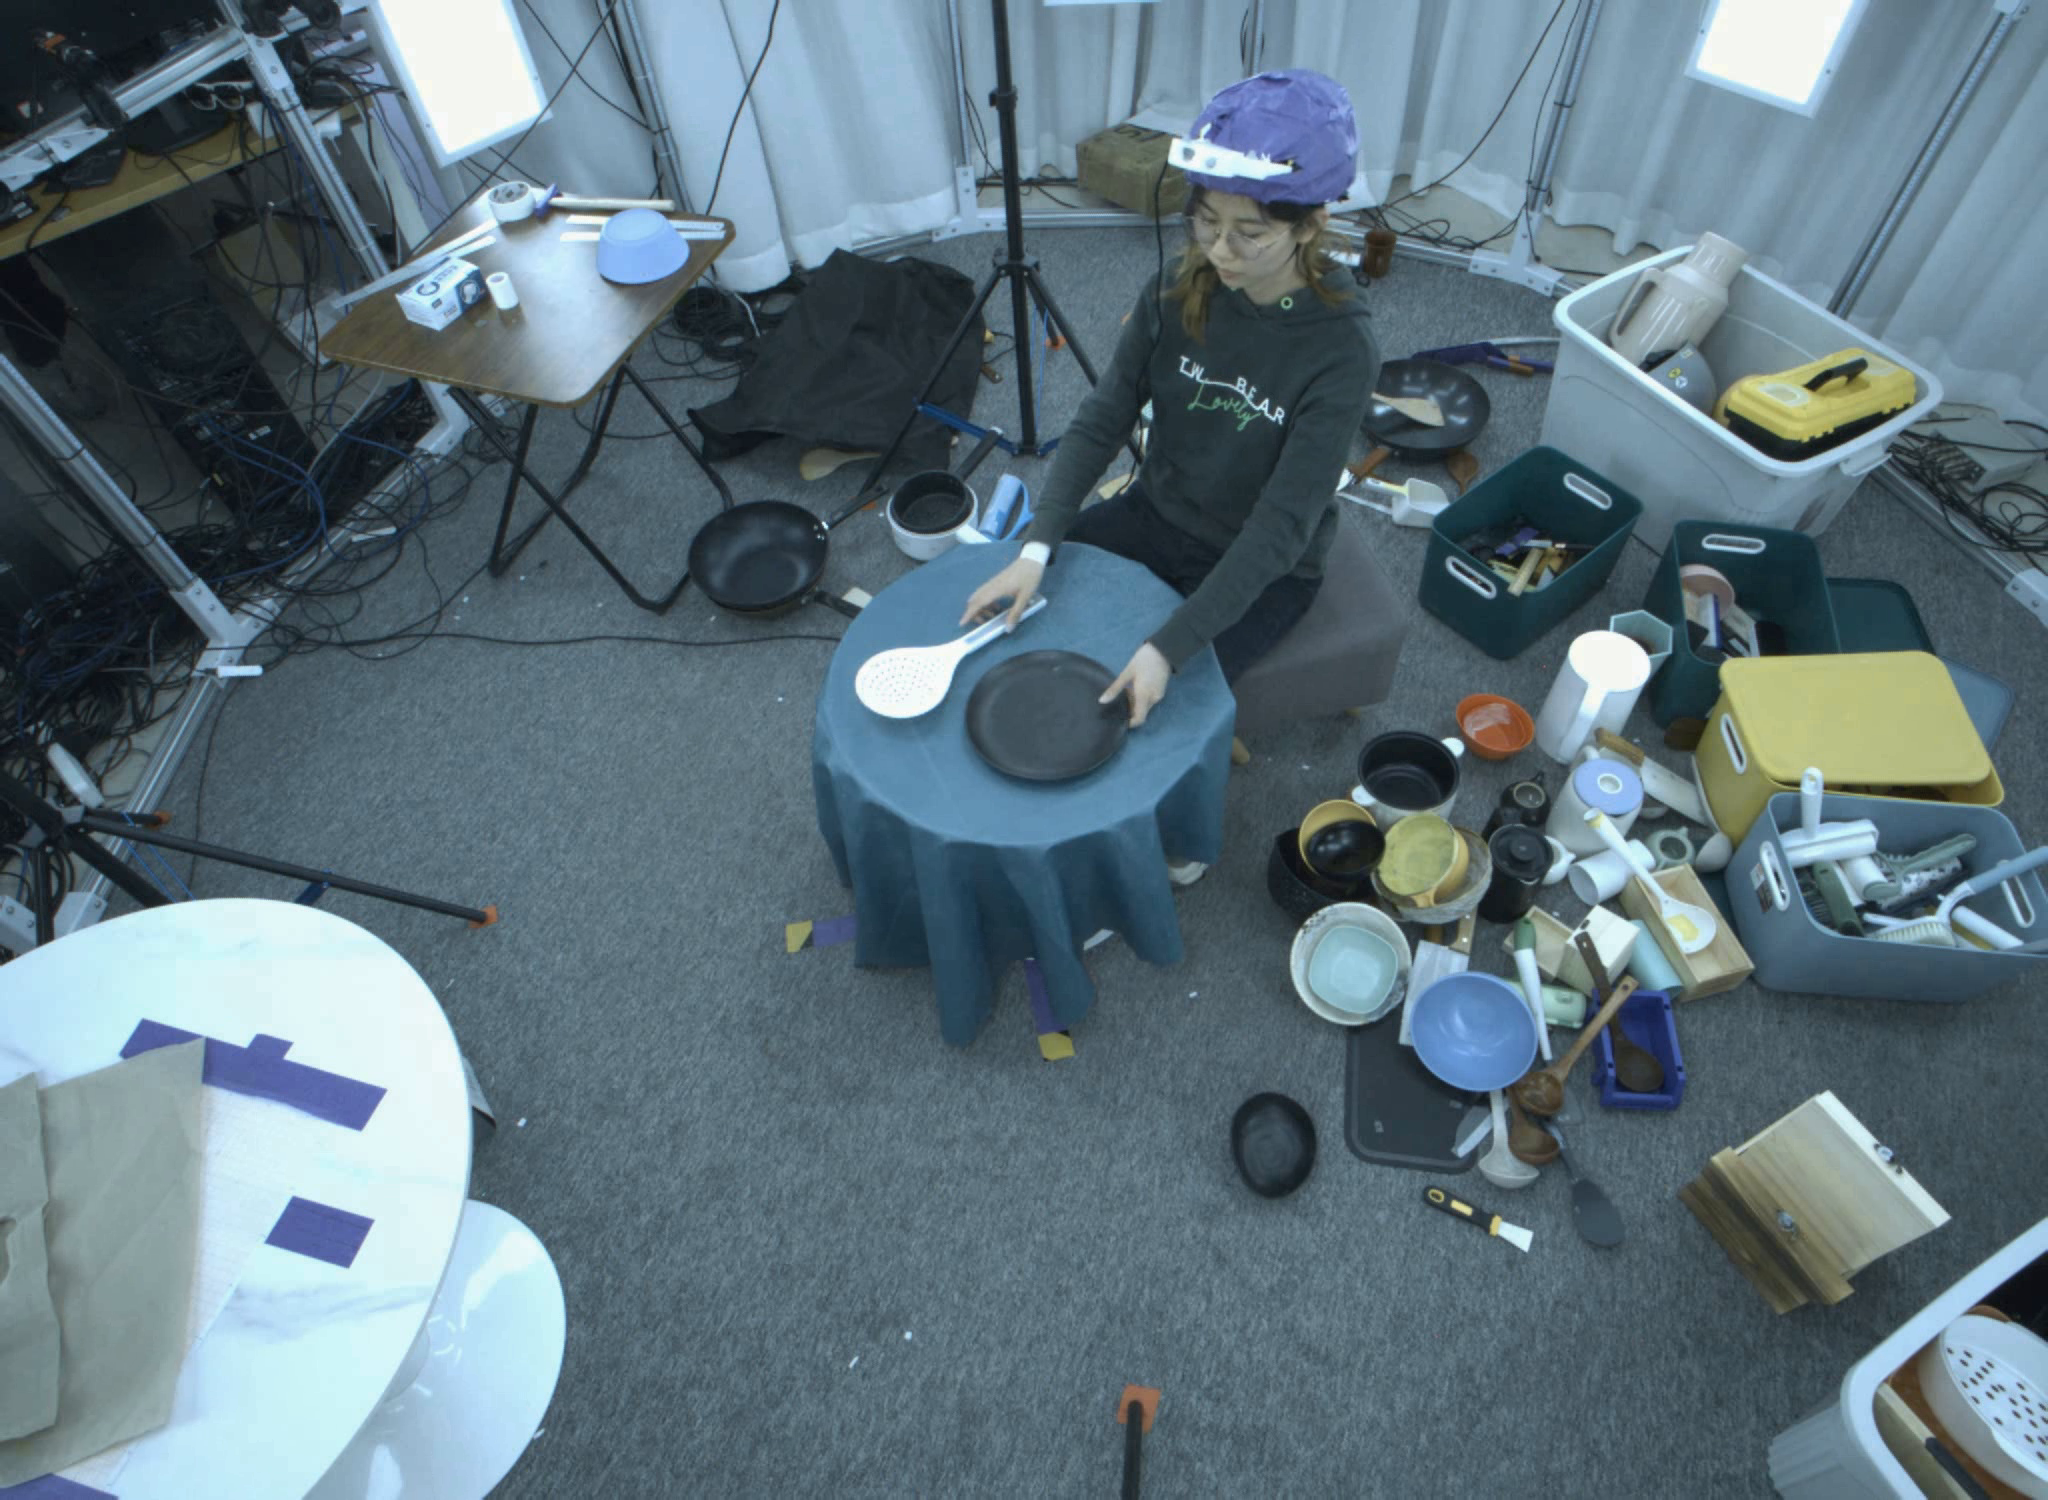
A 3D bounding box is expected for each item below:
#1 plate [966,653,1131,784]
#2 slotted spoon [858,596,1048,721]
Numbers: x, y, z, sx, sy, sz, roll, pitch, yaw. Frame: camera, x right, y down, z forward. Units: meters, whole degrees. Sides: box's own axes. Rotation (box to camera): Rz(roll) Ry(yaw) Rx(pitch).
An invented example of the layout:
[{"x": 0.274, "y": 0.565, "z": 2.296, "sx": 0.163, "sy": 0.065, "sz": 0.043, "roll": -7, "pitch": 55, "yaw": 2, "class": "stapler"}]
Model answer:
[{"x": 0.036, "y": -0.045, "z": 1.814, "sx": 0.244, "sy": 0.023, "sz": 0.242, "roll": 0, "pitch": 55, "yaw": 2, "class": "plate"}, {"x": -0.100, "y": -0.148, "z": 1.877, "sx": 0.352, "sy": 0.046, "sz": 0.134, "roll": -37, "pitch": 64, "yaw": -23, "class": "slotted spoon"}]
